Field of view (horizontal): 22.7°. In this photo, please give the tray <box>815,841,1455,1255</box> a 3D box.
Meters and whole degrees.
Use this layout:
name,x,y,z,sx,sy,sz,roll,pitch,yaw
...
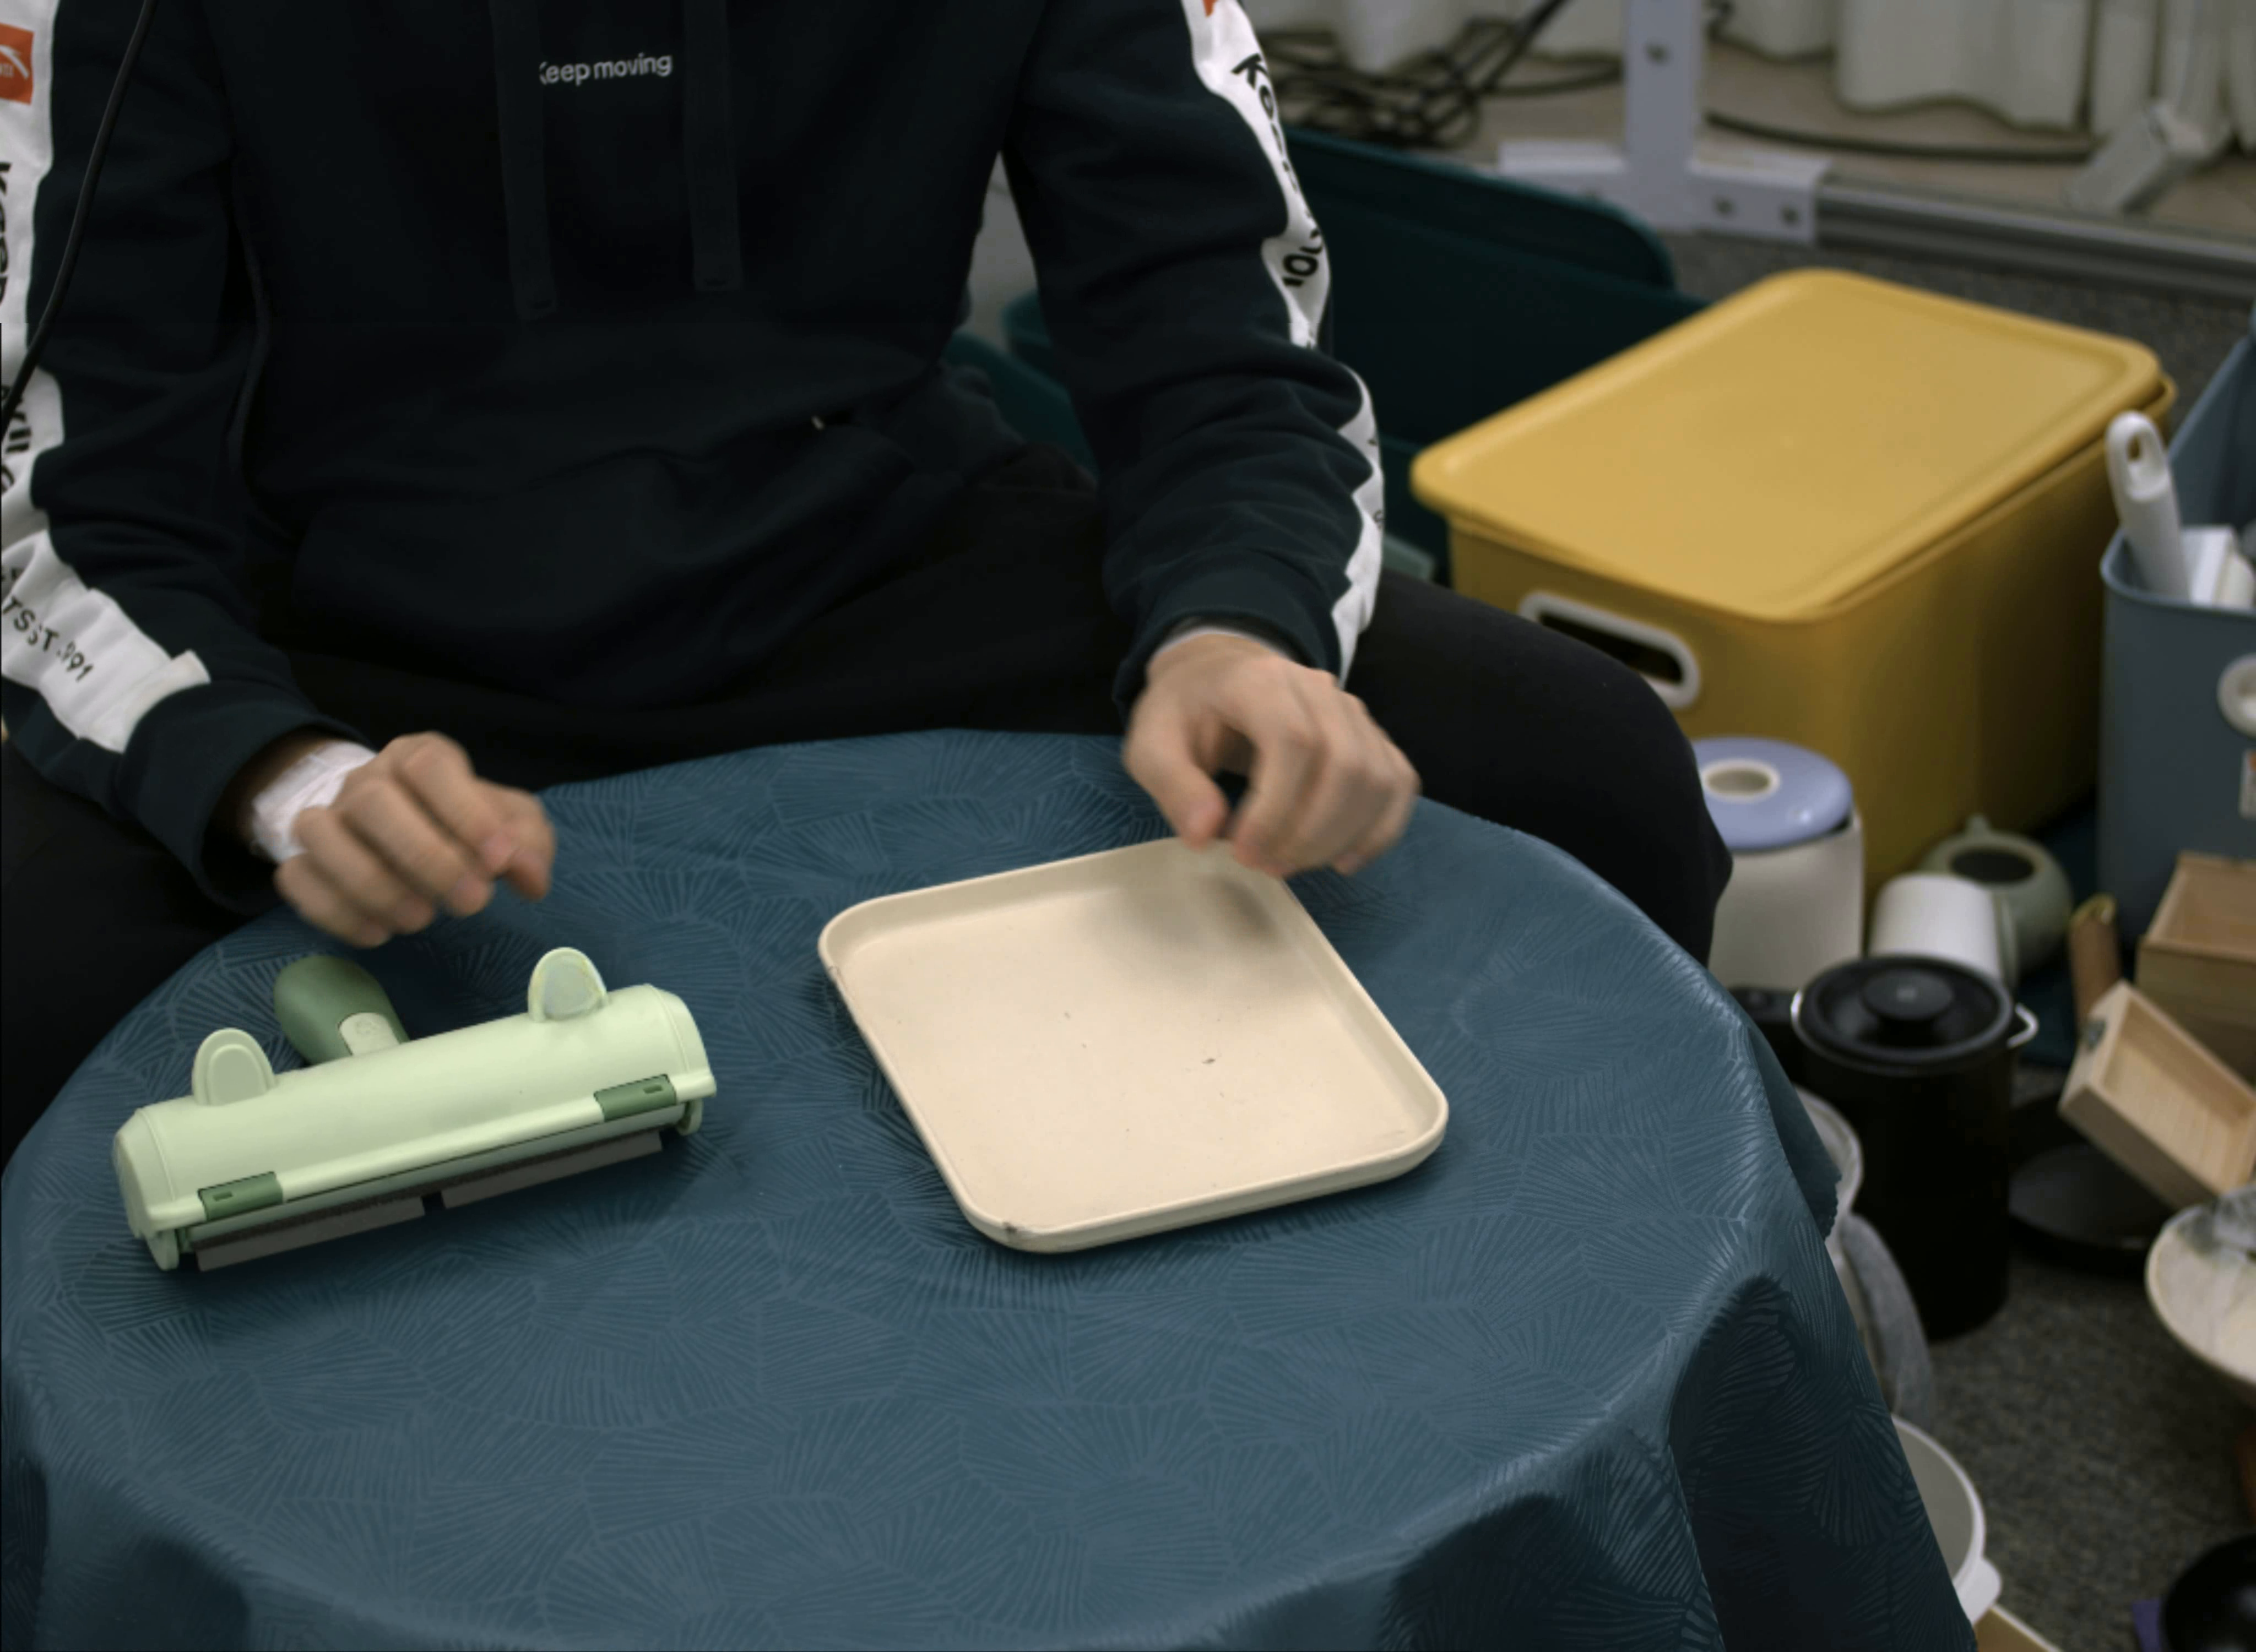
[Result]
name,x,y,z,sx,sy,sz,roll,pitch,yaw
tray,-0.001,0.075,1.931,0.171,0.017,0.242,-11,29,-16

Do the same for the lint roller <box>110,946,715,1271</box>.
name,x,y,z,sx,sy,sz,roll,pitch,yaw
lint roller,-0.259,0.068,1.906,0.199,0.081,0.185,-14,33,-19
